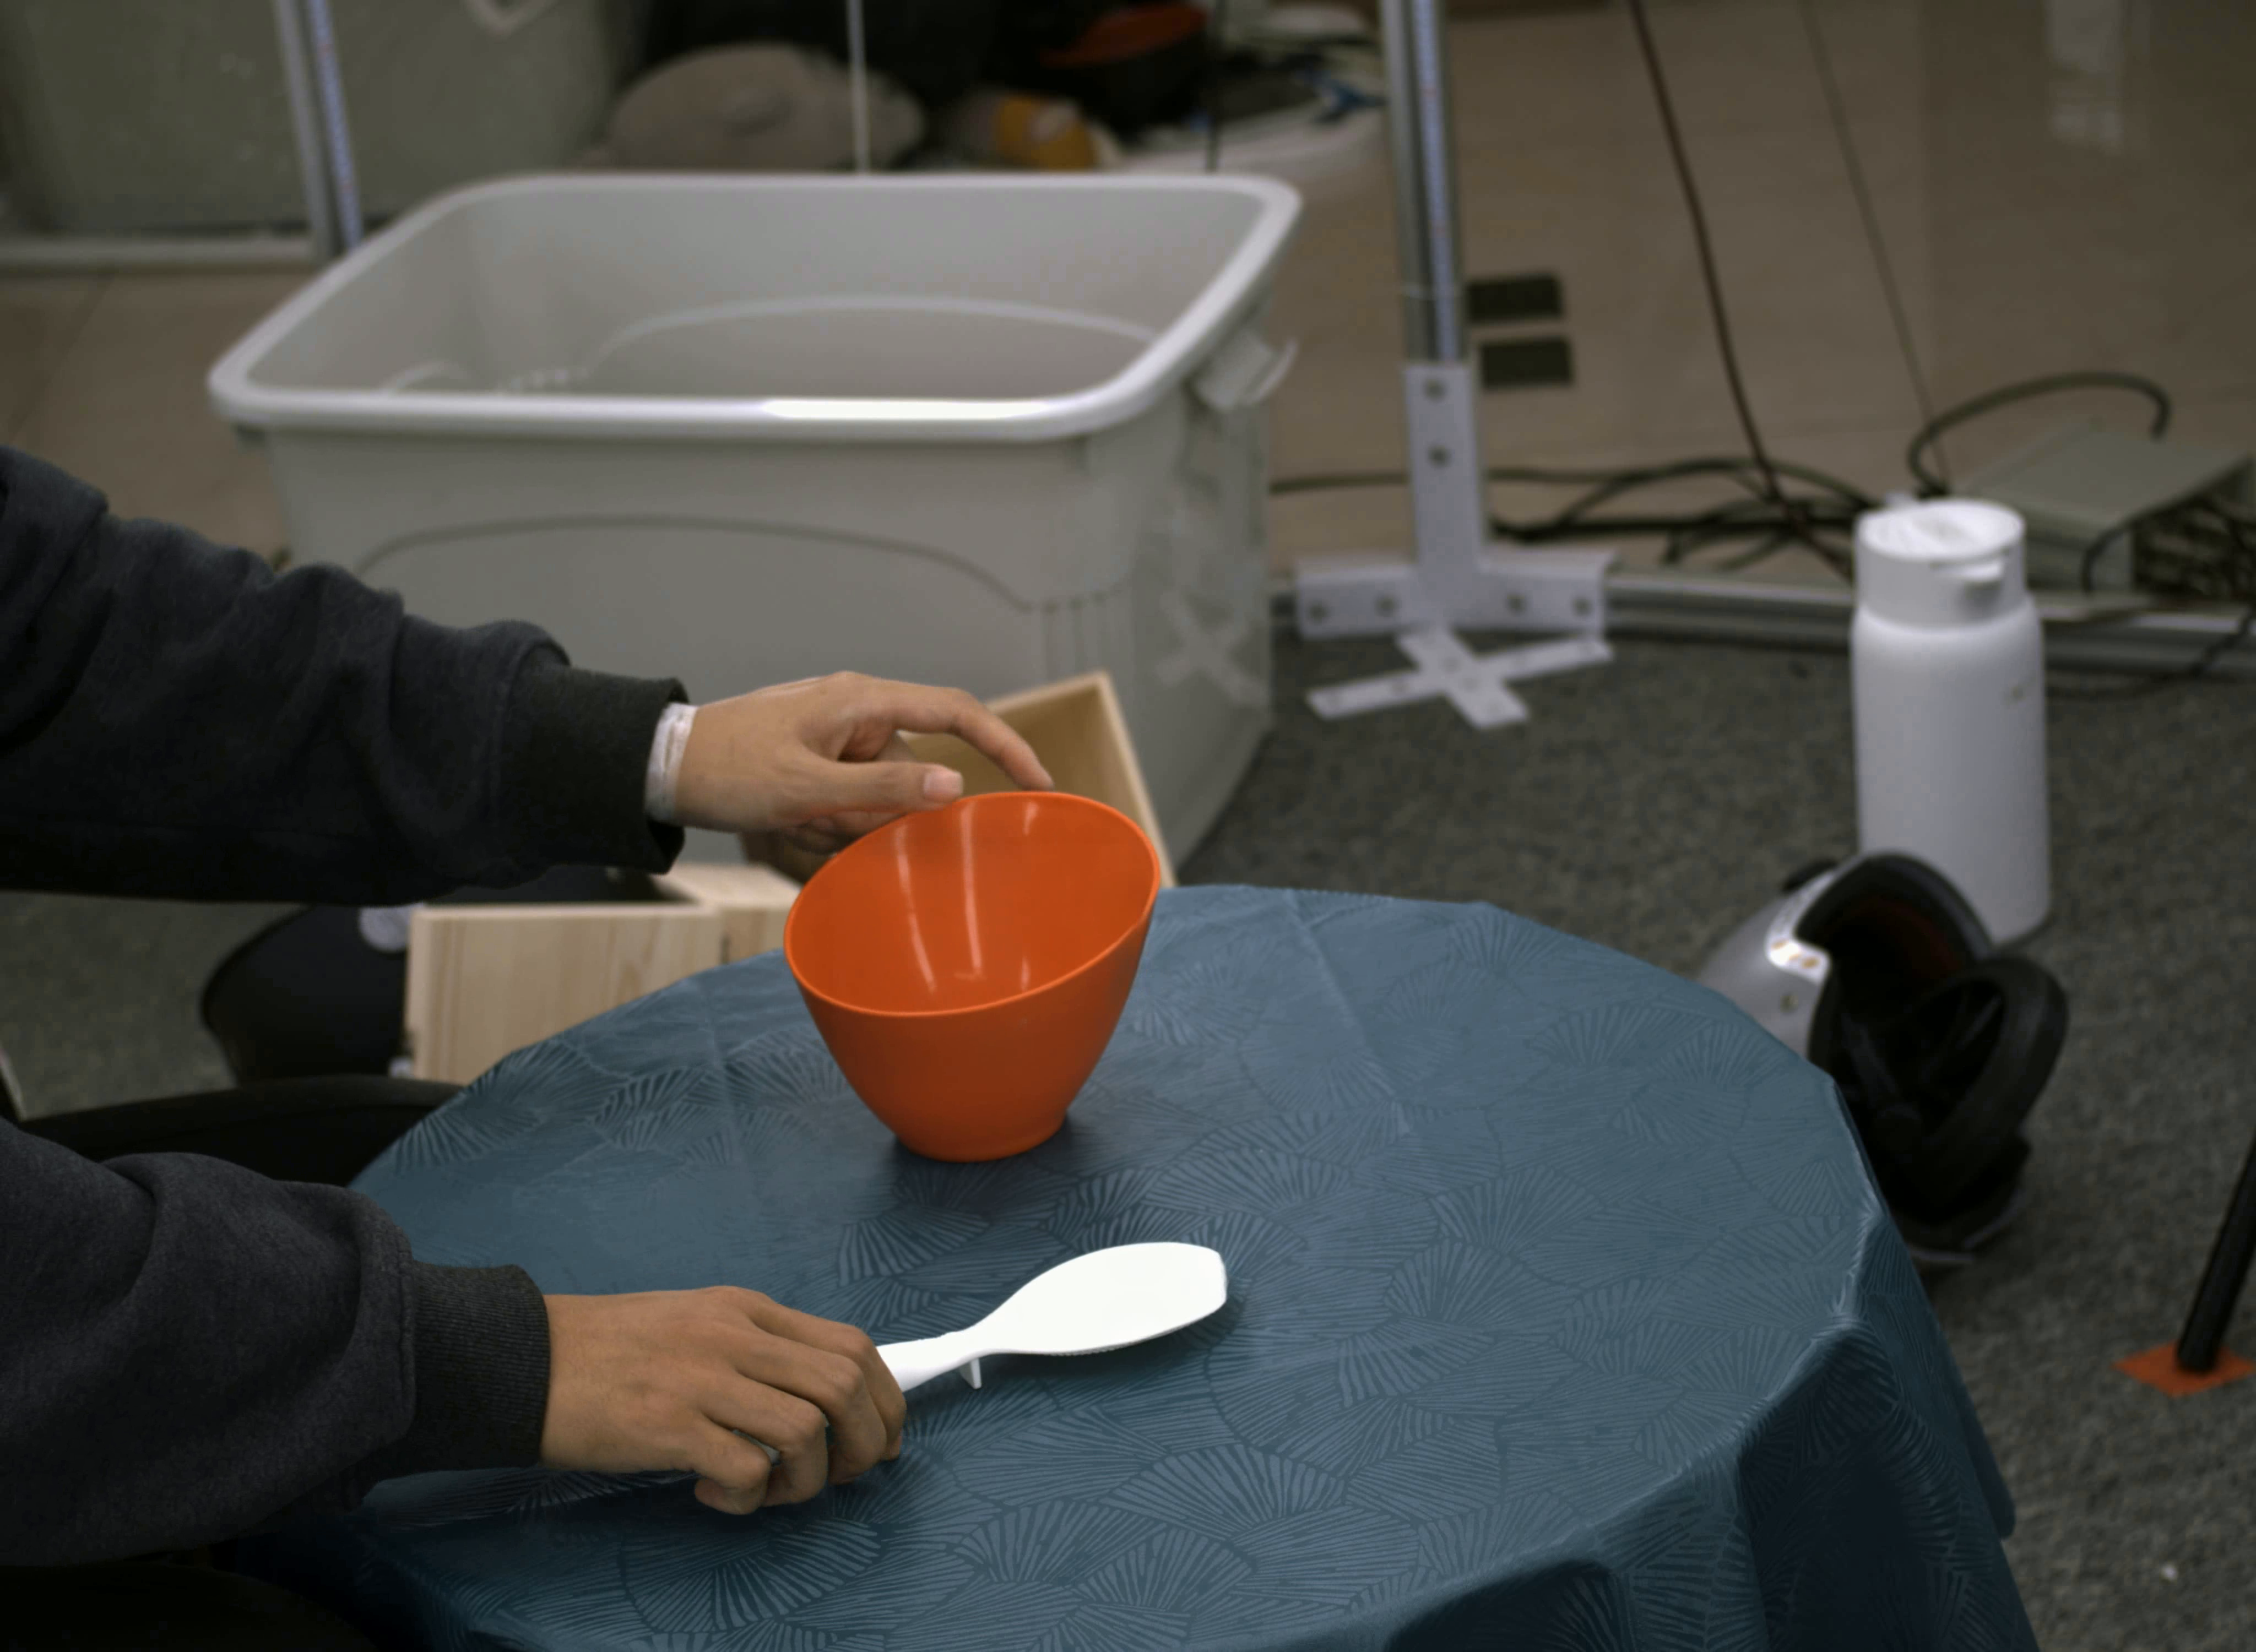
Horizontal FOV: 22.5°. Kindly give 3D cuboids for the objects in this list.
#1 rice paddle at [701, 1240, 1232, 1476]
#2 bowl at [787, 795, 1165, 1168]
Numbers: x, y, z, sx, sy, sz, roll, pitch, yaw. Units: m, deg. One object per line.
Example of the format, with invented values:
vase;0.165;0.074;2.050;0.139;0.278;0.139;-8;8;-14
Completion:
rice paddle;-0.055;0.184;2.027;0.204;0.030;0.068;-18;28;-23
bowl;-0.055;0.067;2.195;0.148;0.106;0.146;-5;27;3
